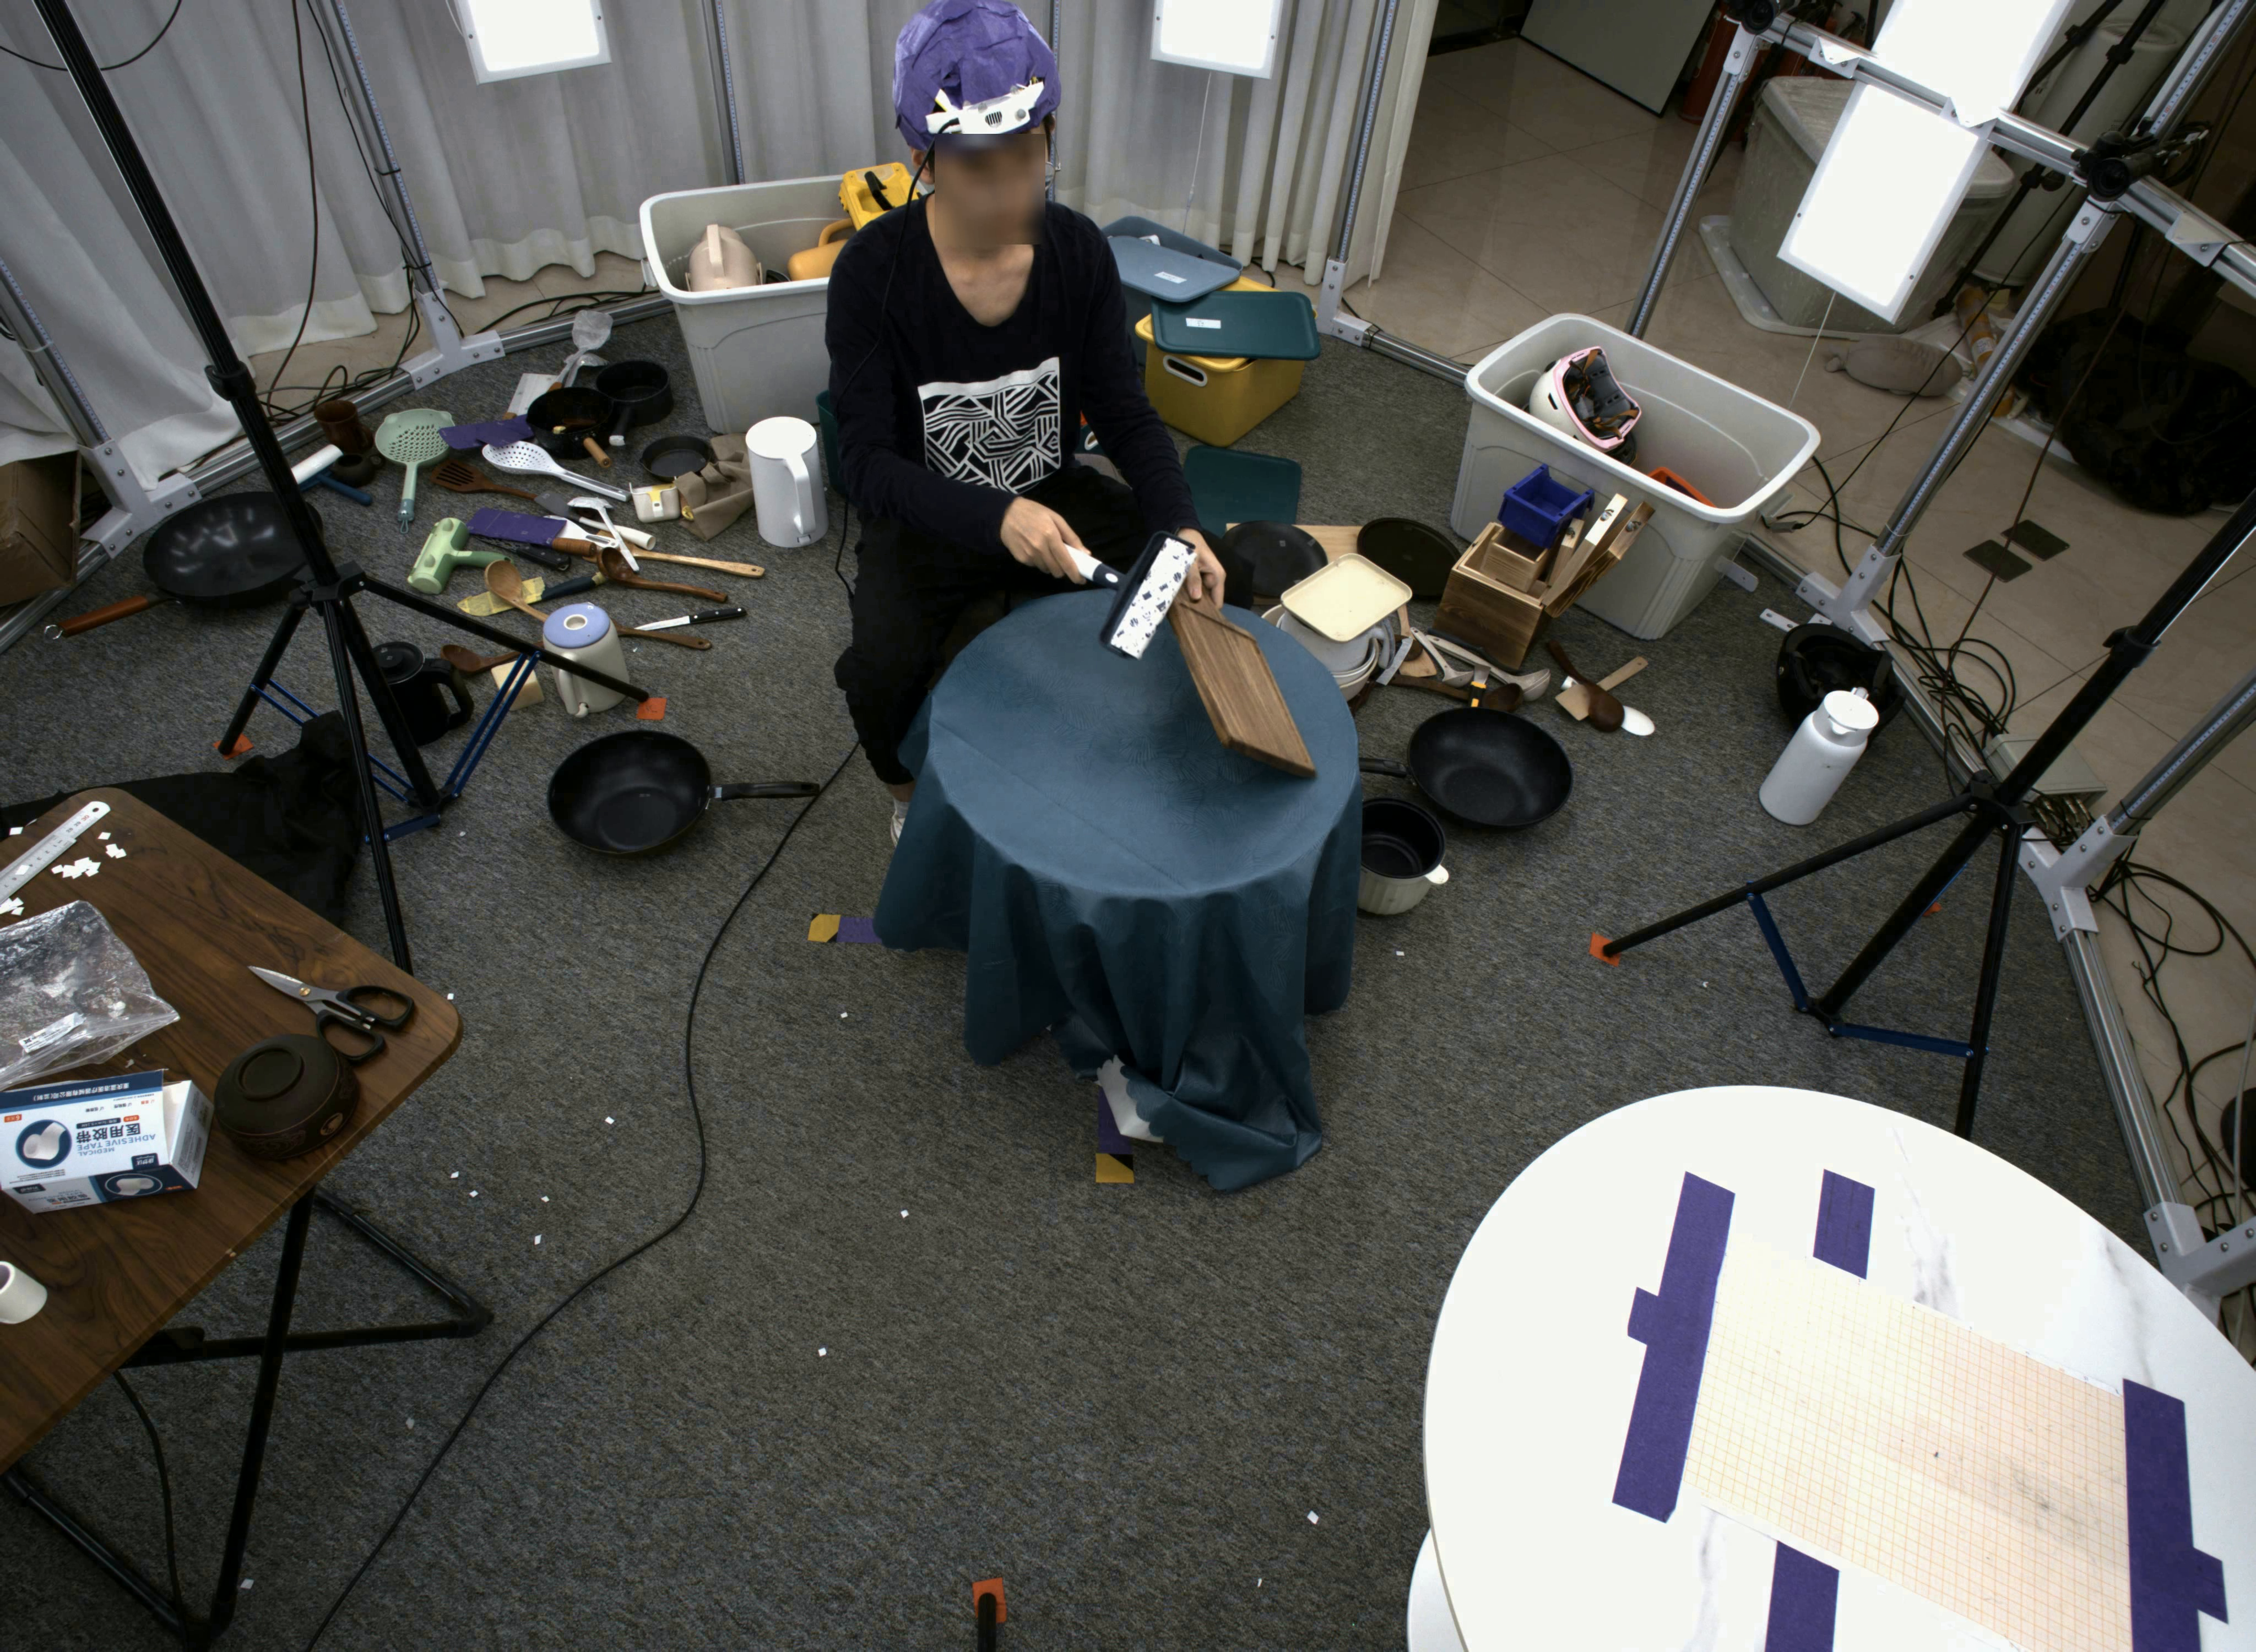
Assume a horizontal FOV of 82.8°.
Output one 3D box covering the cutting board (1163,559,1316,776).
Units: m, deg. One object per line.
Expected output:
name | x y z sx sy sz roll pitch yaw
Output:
cutting board | 0.135 -0.231 1.758 0.198 0.023 0.360 16 44 -46

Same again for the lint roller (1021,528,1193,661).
lint roller | -0.051 -0.349 1.747 0.250 0.050 0.176 29 93 23
